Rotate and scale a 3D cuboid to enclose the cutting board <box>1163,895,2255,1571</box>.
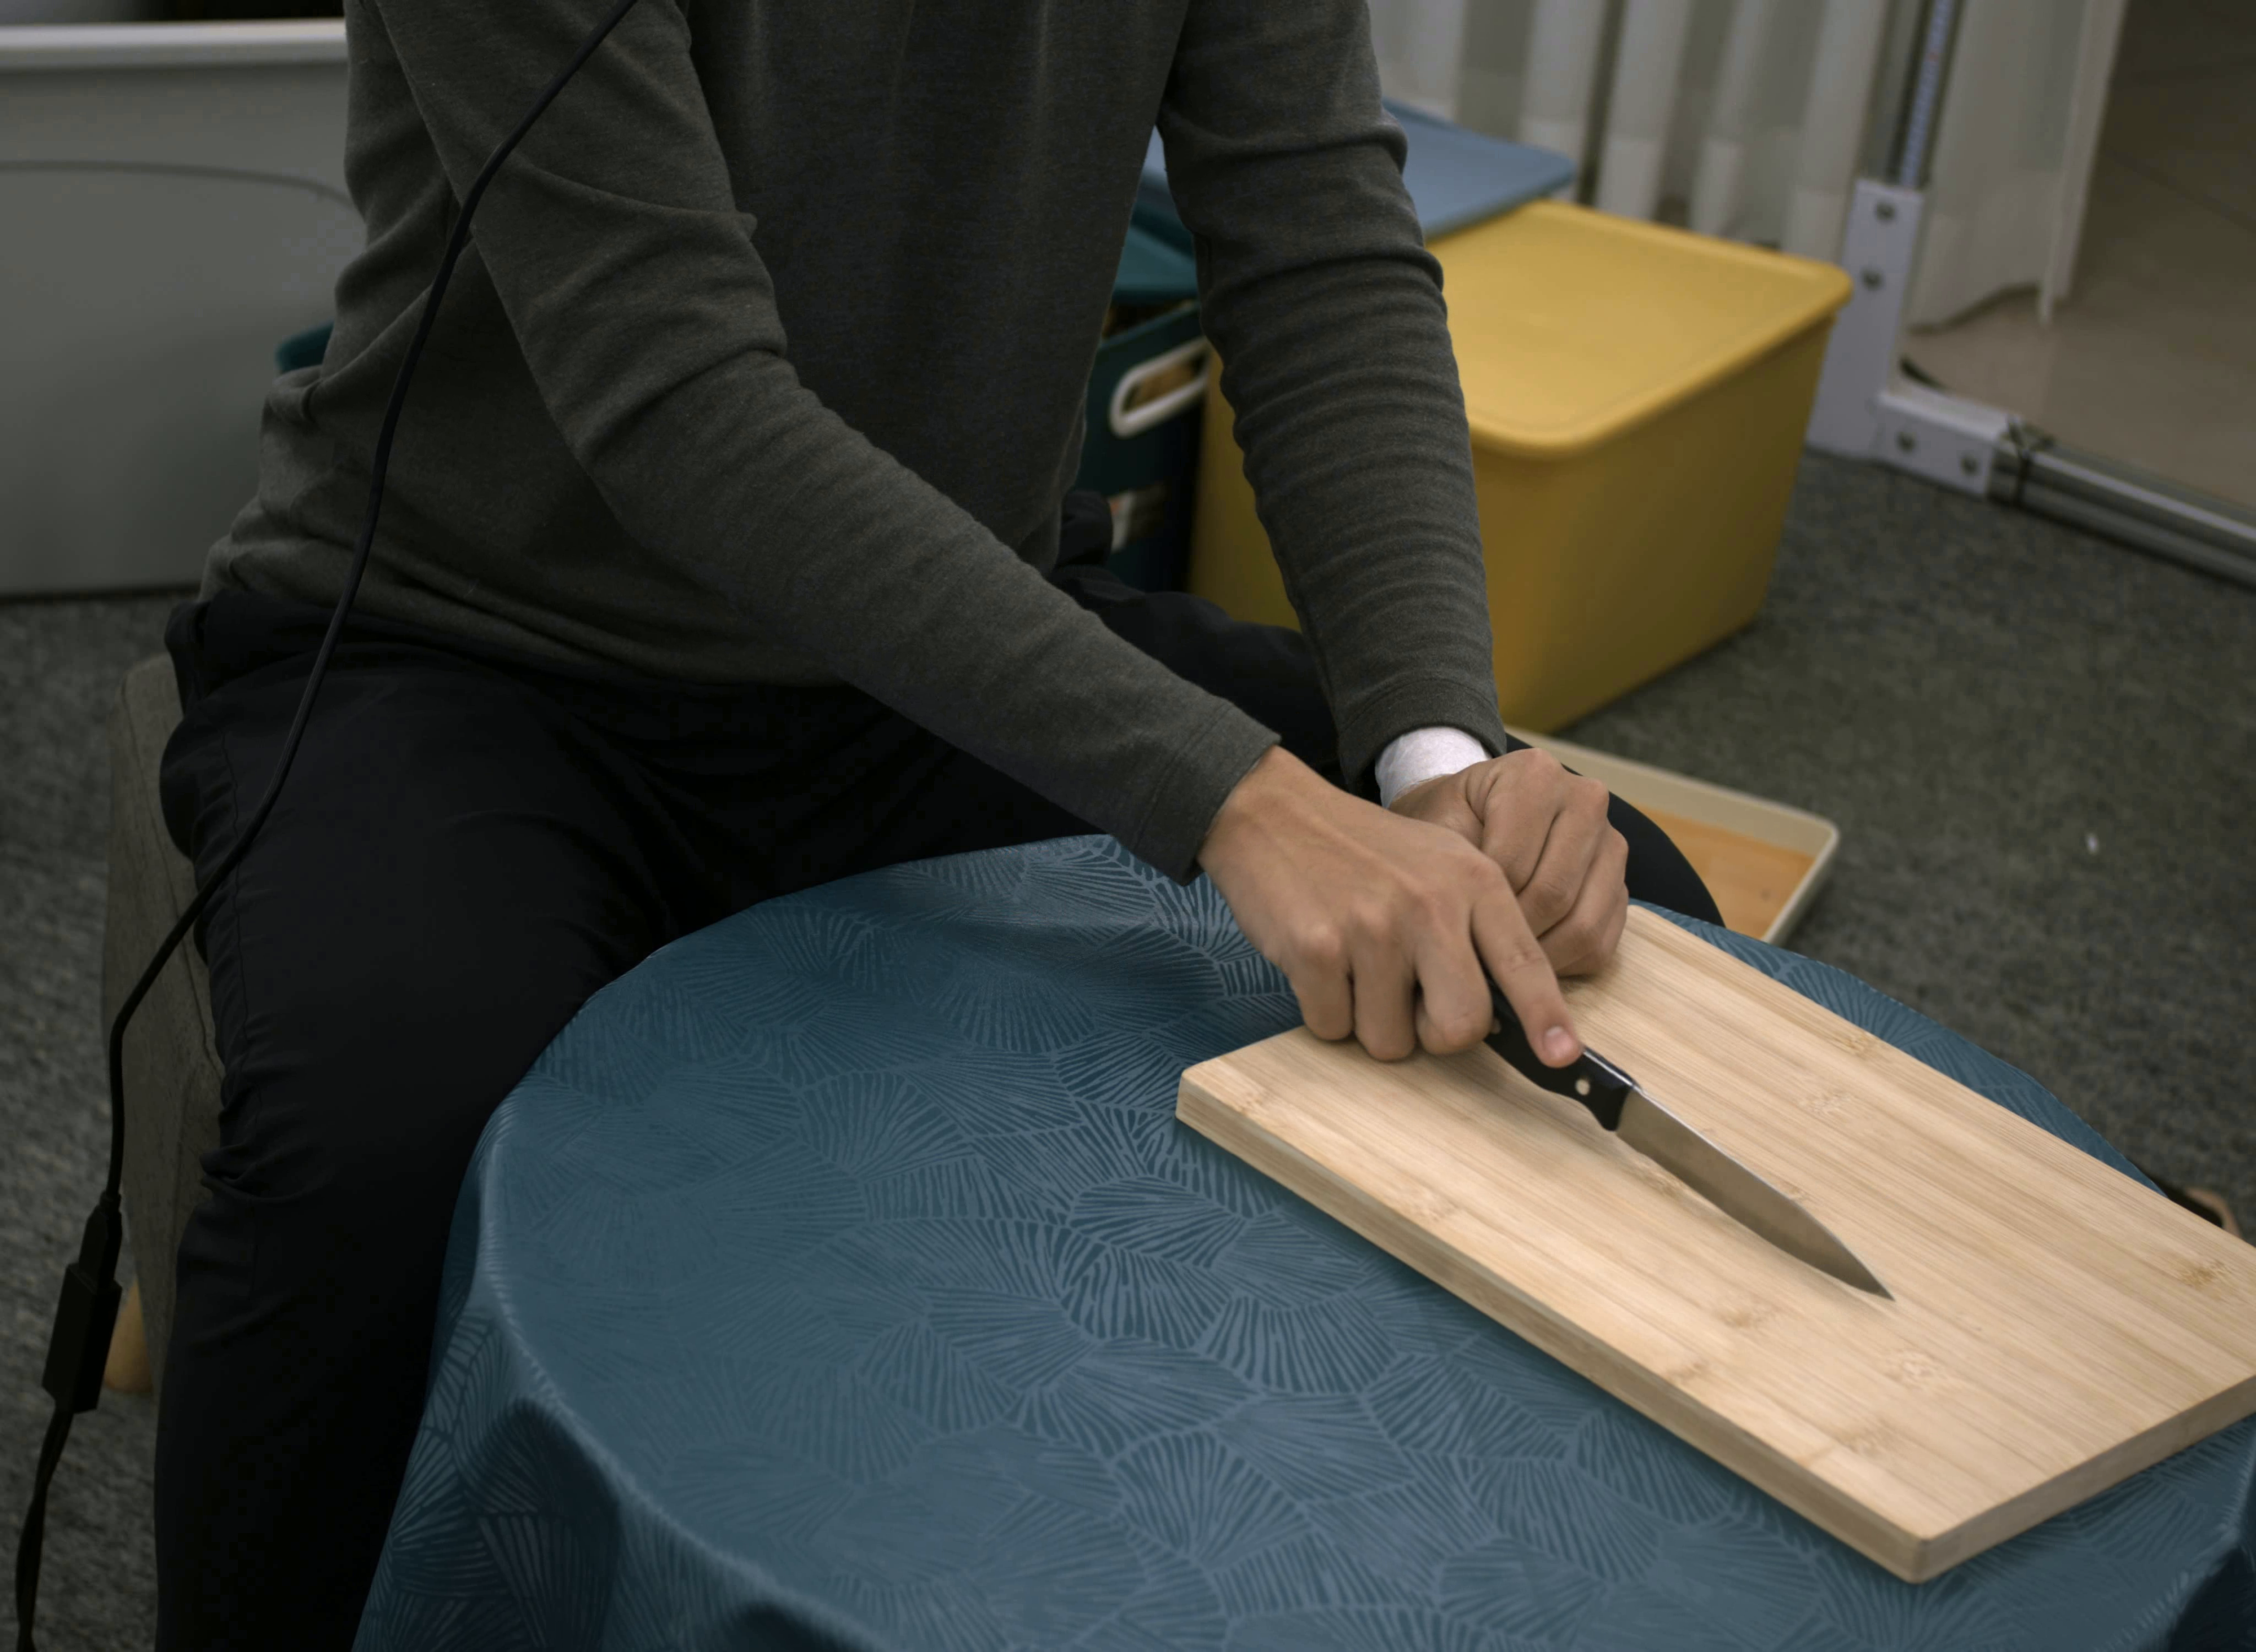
[{"bbox_3d":[0.214,0.131,1.823,0.249,0.023,0.351,-18,36,-40],"label":"cutting board"}]

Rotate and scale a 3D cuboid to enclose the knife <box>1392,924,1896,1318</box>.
[{"bbox_3d":[0.175,0.098,1.815,0.016,0.024,0.240,-14,40,-42],"label":"knife"}]
